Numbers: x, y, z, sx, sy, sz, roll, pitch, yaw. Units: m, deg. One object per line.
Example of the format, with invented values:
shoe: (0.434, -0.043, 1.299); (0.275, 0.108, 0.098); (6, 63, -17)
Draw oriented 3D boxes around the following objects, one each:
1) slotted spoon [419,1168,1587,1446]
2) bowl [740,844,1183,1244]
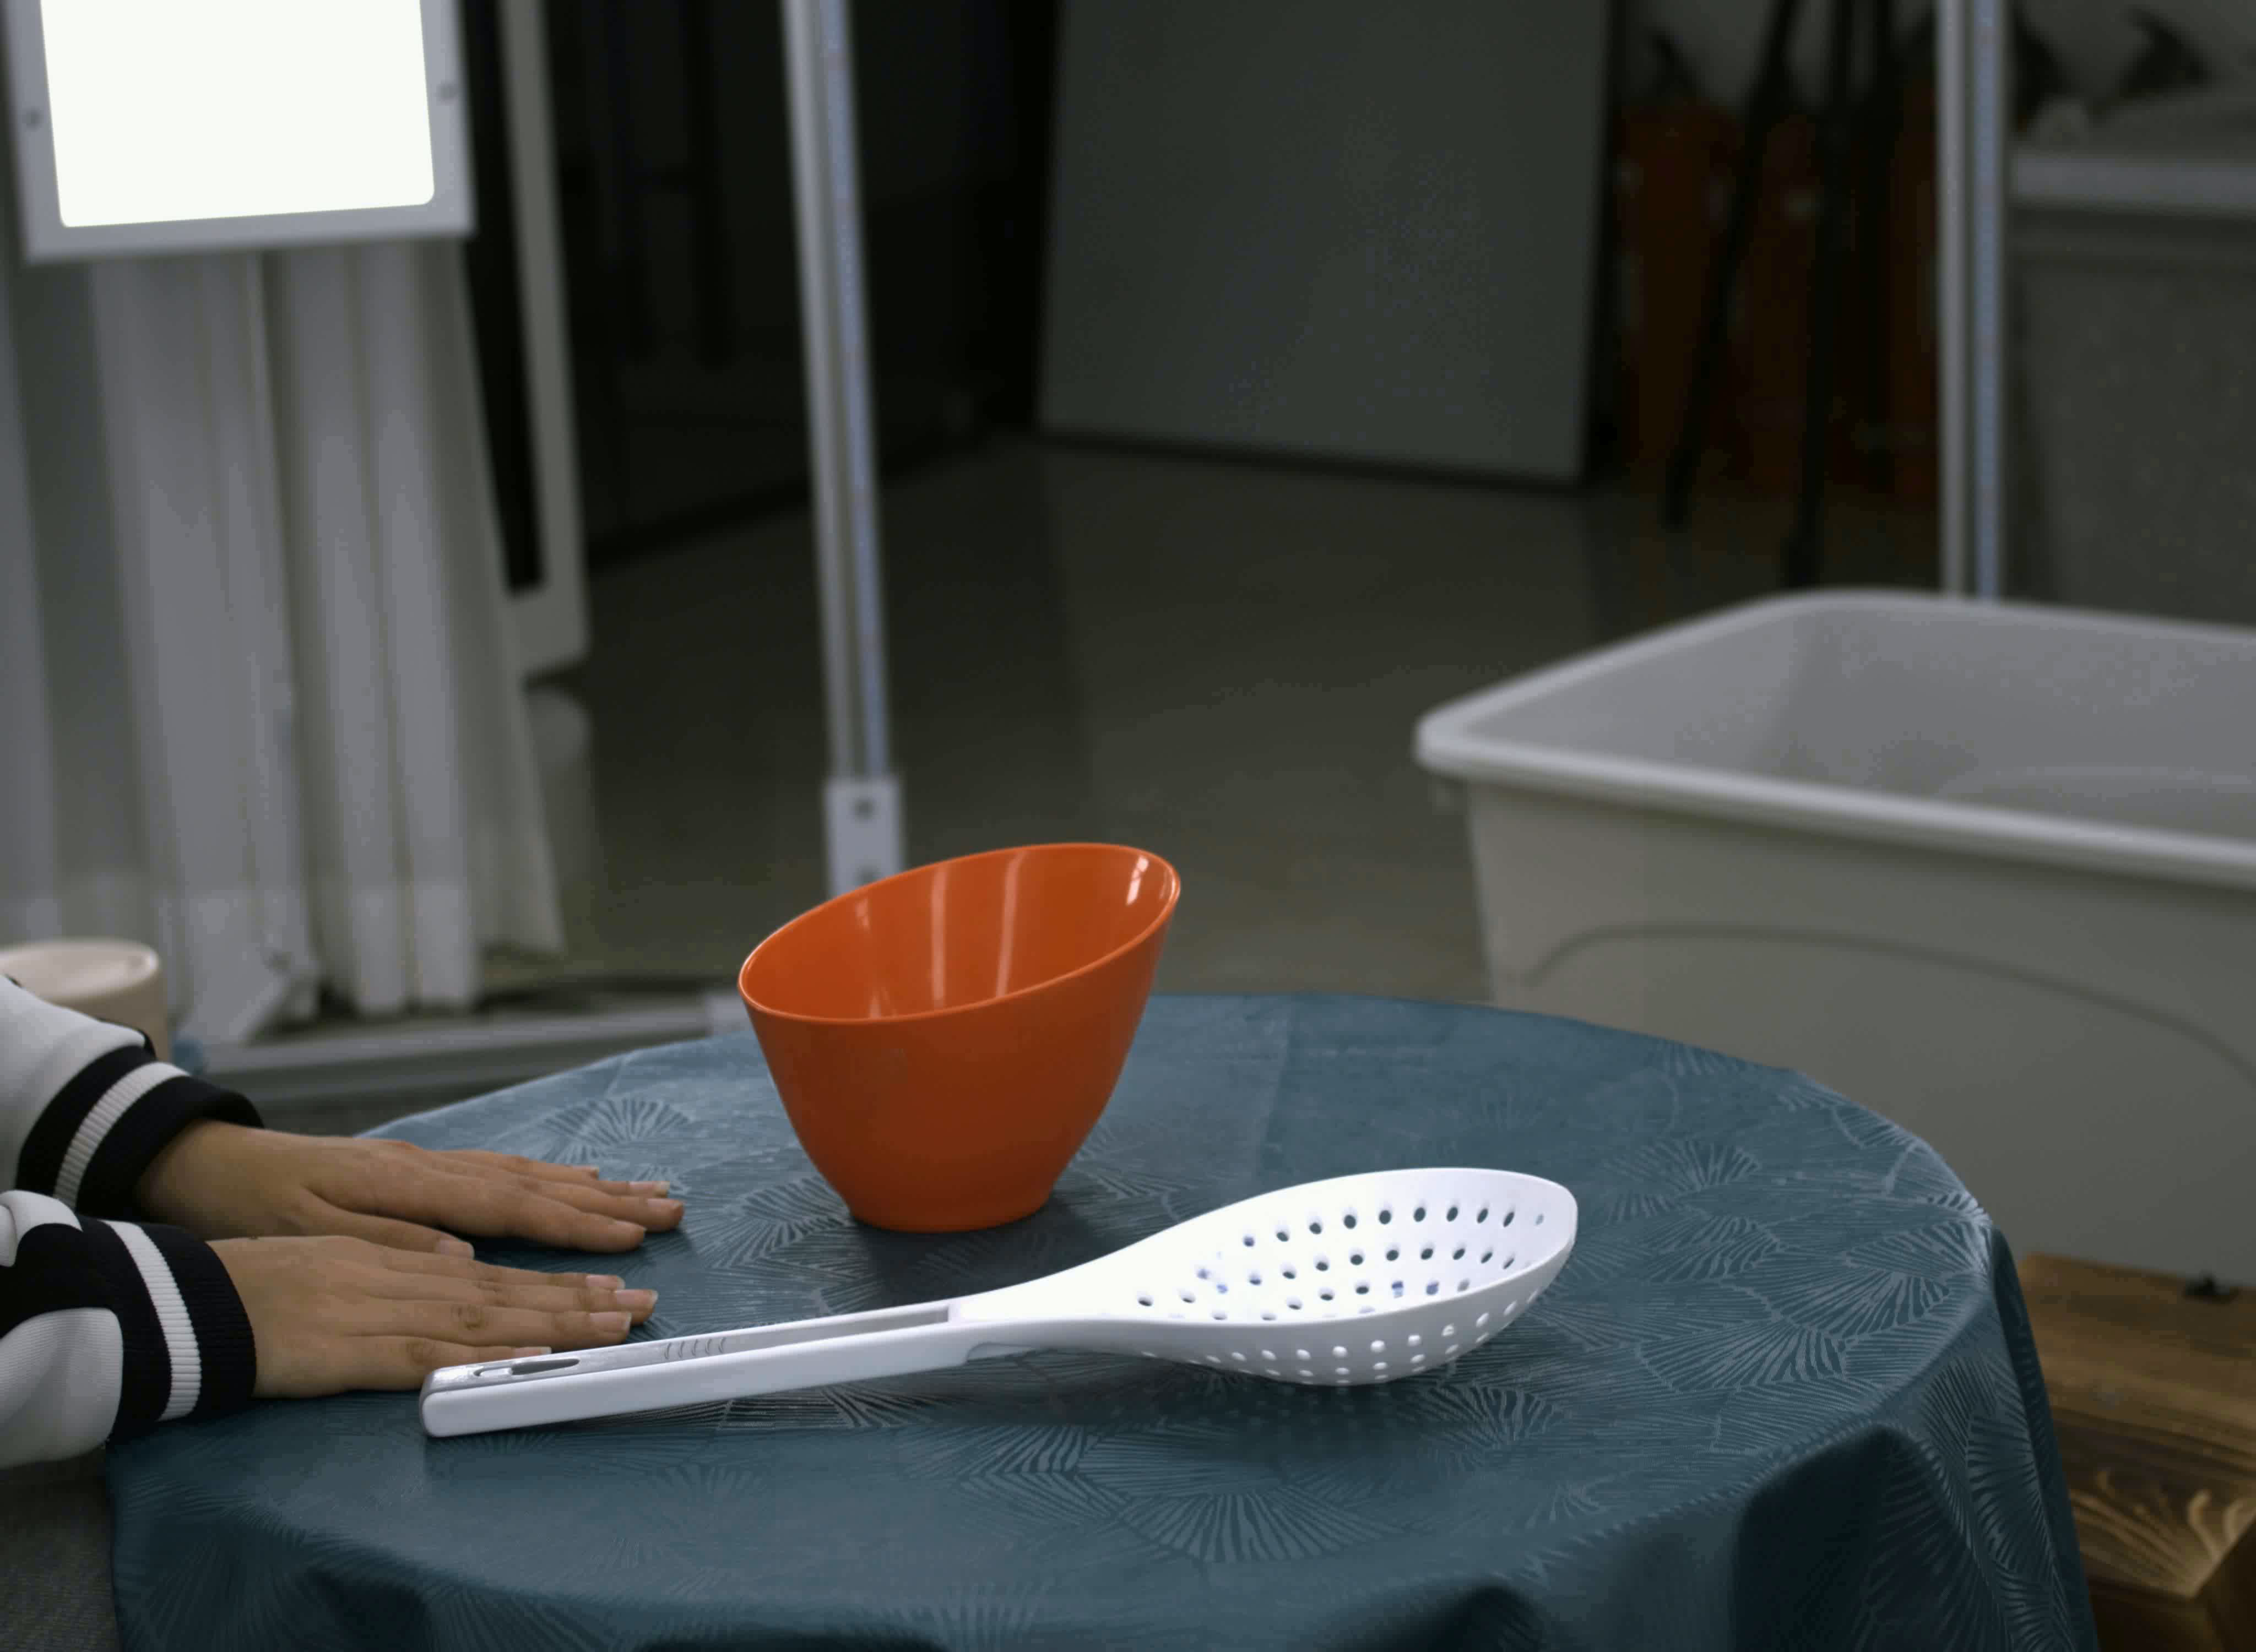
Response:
slotted spoon: (-0.037, 0.146, 1.585); (0.345, 0.046, 0.136); (-5, 12, 2)
bowl: (-0.051, 0.074, 1.763); (0.146, 0.106, 0.148); (-4, 16, 0)
